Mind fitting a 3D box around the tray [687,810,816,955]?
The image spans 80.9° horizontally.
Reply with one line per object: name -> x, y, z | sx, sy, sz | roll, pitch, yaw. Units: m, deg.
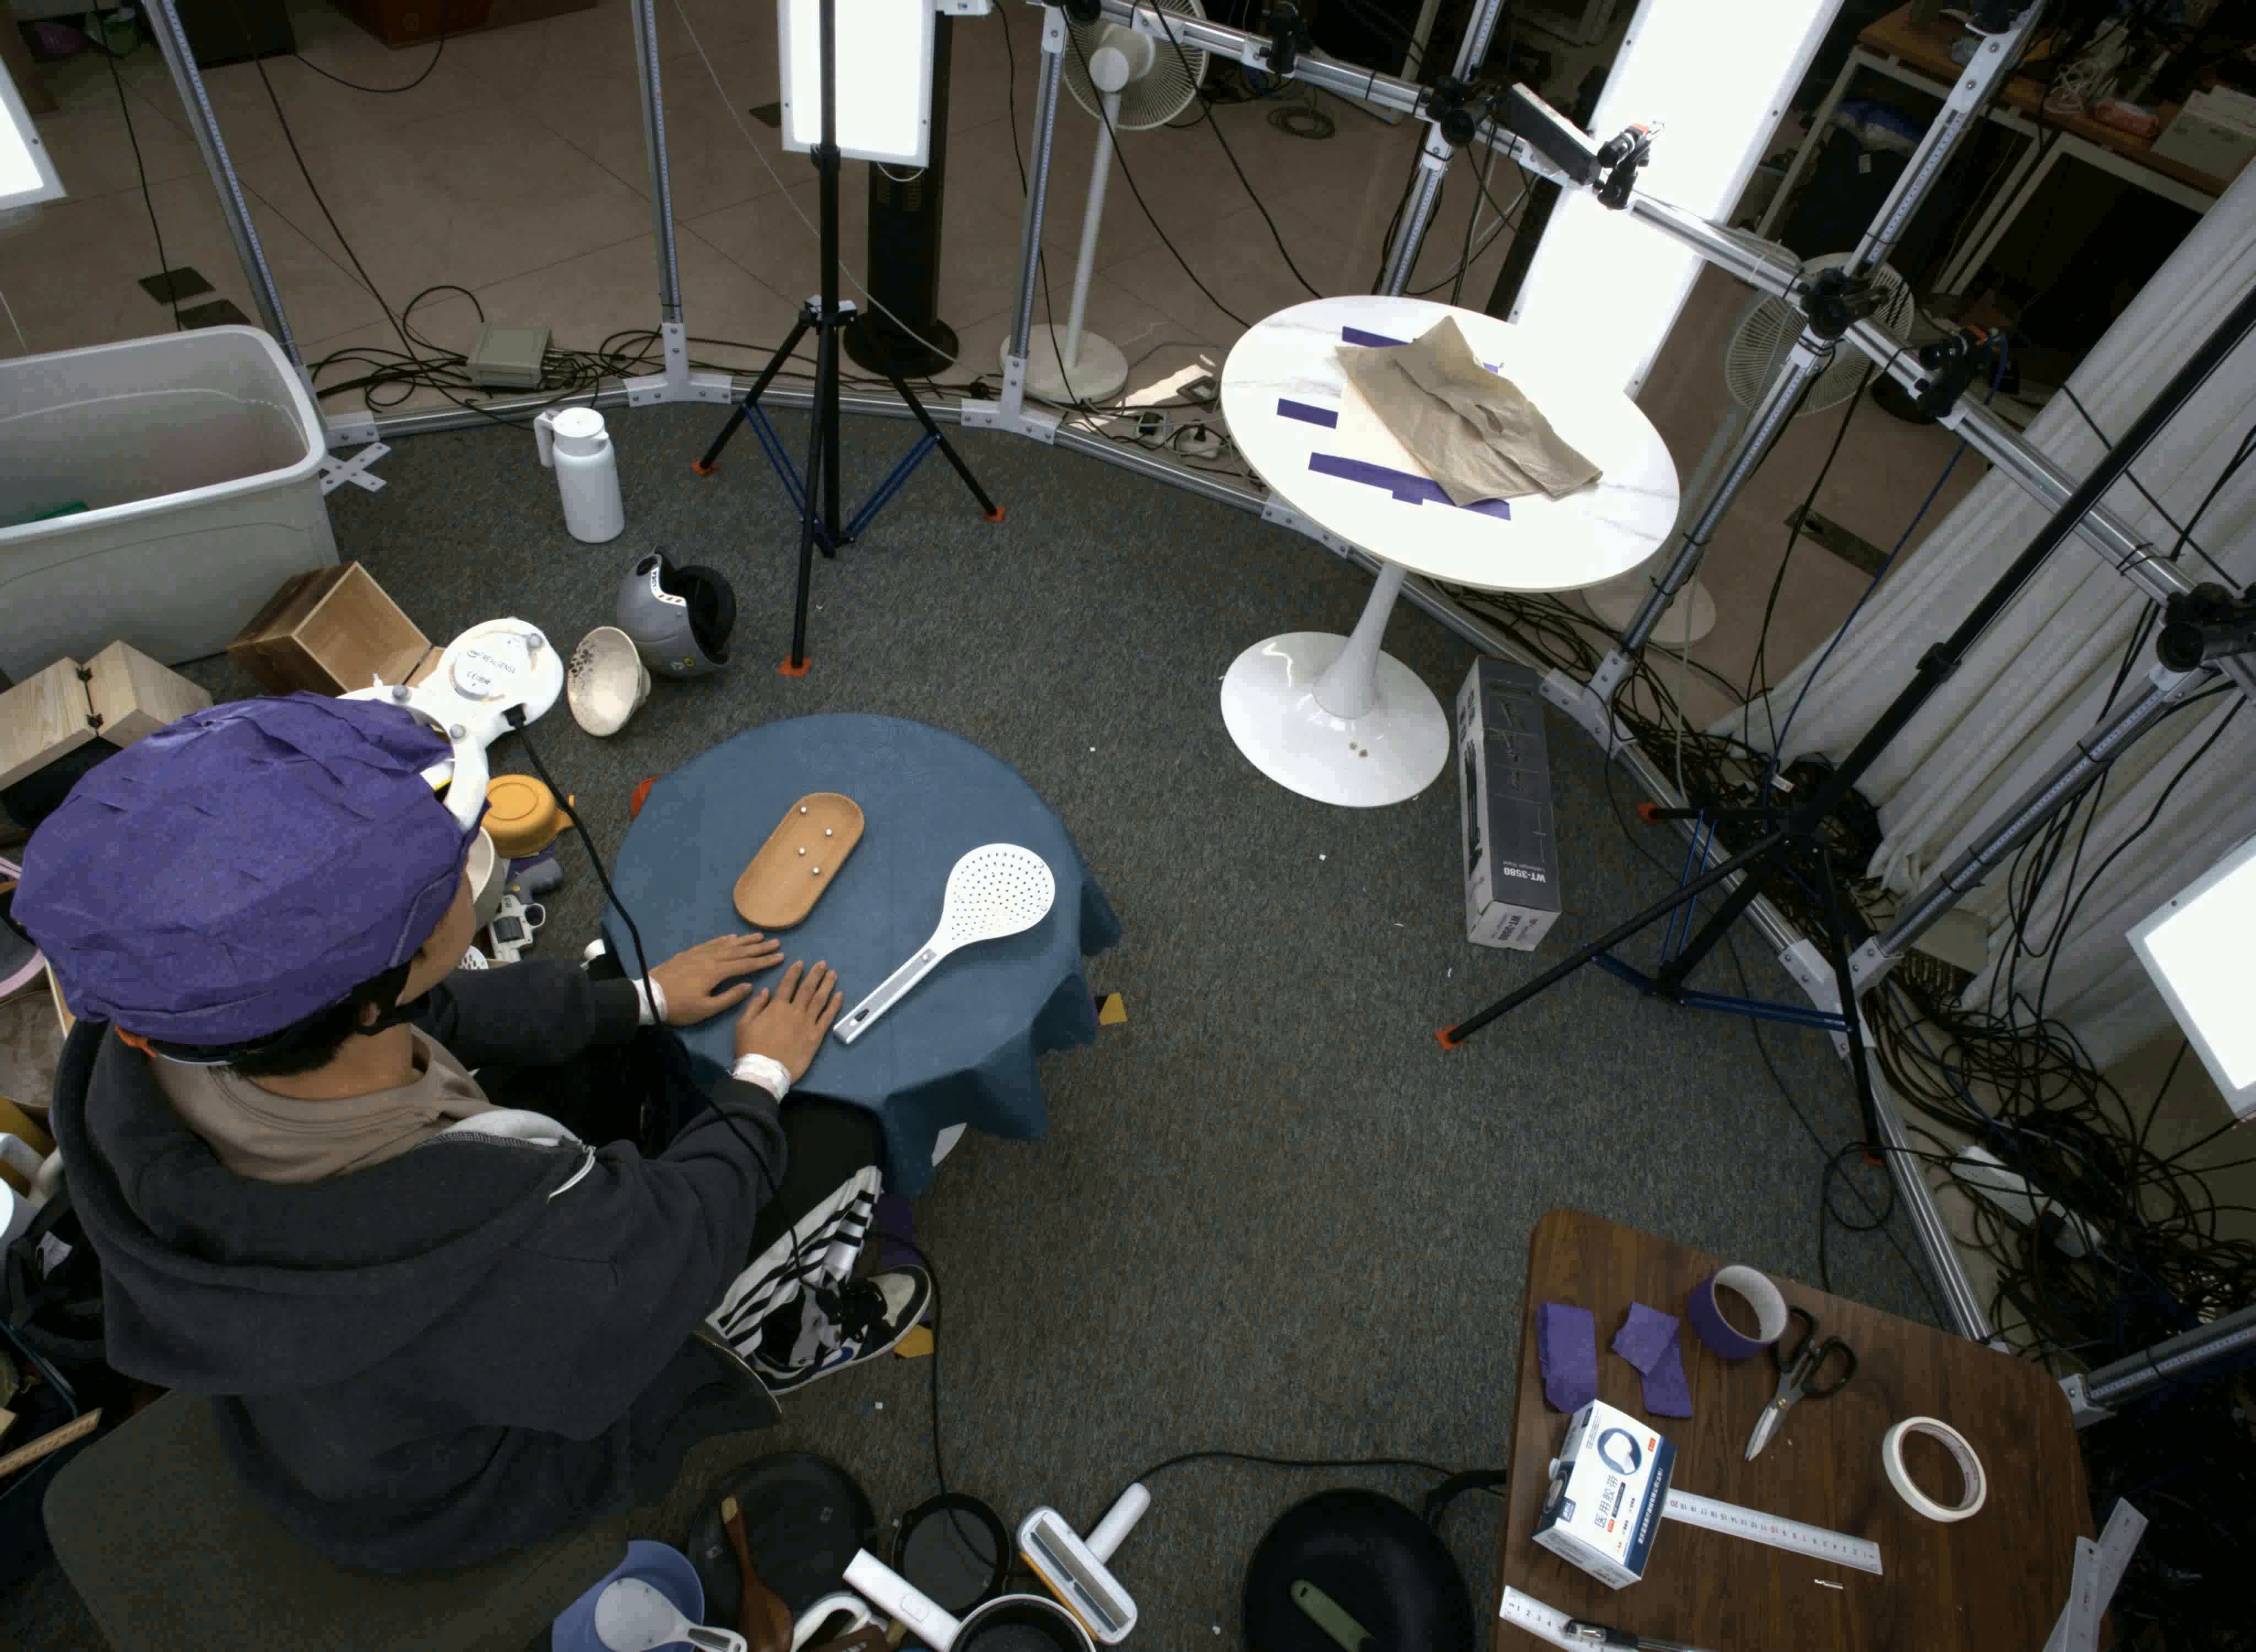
tray -> -0.479, 0.068, 1.653 | 0.100, 0.021, 0.229 | 20, 53, 2

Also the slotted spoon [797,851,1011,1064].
slotted spoon -> -0.281, 0.161, 1.616 | 0.133, 0.047, 0.349 | 34, 54, 14
